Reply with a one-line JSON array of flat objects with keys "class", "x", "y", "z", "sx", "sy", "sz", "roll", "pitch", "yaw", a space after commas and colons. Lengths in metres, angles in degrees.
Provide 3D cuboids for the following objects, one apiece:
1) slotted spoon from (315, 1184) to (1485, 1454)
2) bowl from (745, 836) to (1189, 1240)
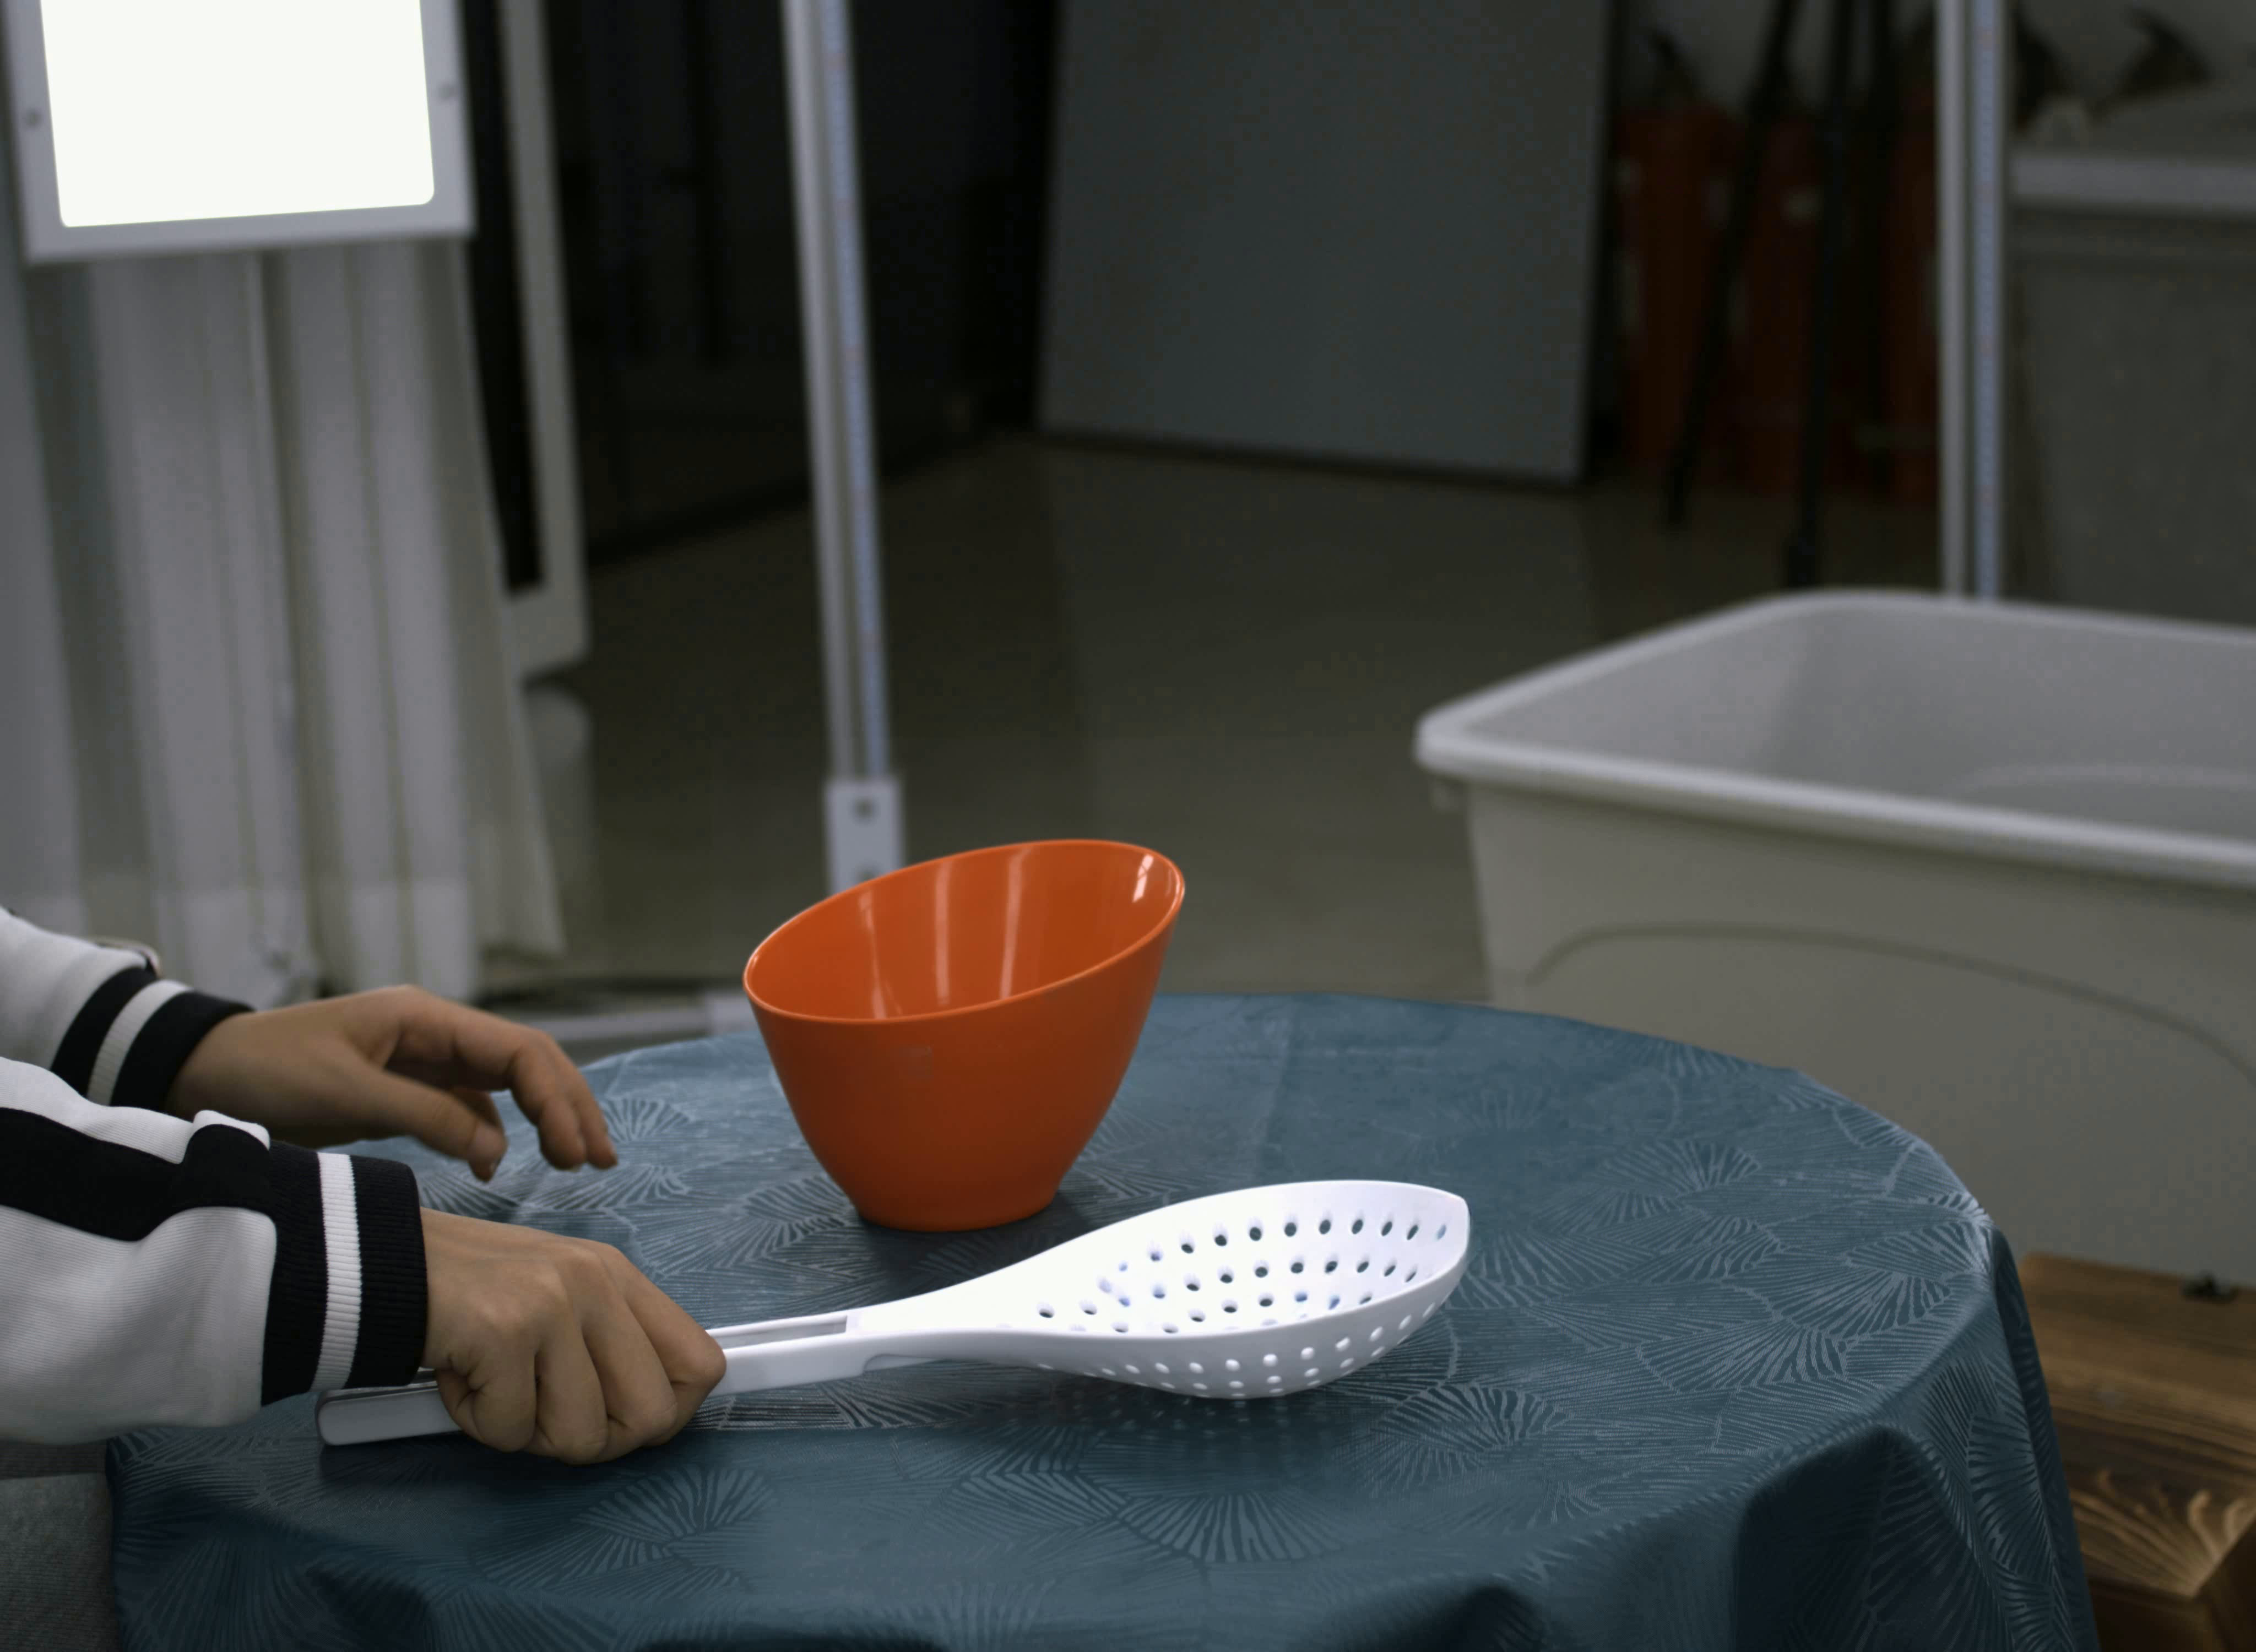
[{"class": "slotted spoon", "x": -0.066, "y": 0.149, "z": 1.582, "sx": 0.345, "sy": 0.046, "sz": 0.136, "roll": -4, "pitch": 11, "yaw": 2}, {"class": "bowl", "x": -0.050, "y": 0.073, "z": 1.765, "sx": 0.146, "sy": 0.106, "sz": 0.148, "roll": -3, "pitch": 17, "yaw": 0}]
